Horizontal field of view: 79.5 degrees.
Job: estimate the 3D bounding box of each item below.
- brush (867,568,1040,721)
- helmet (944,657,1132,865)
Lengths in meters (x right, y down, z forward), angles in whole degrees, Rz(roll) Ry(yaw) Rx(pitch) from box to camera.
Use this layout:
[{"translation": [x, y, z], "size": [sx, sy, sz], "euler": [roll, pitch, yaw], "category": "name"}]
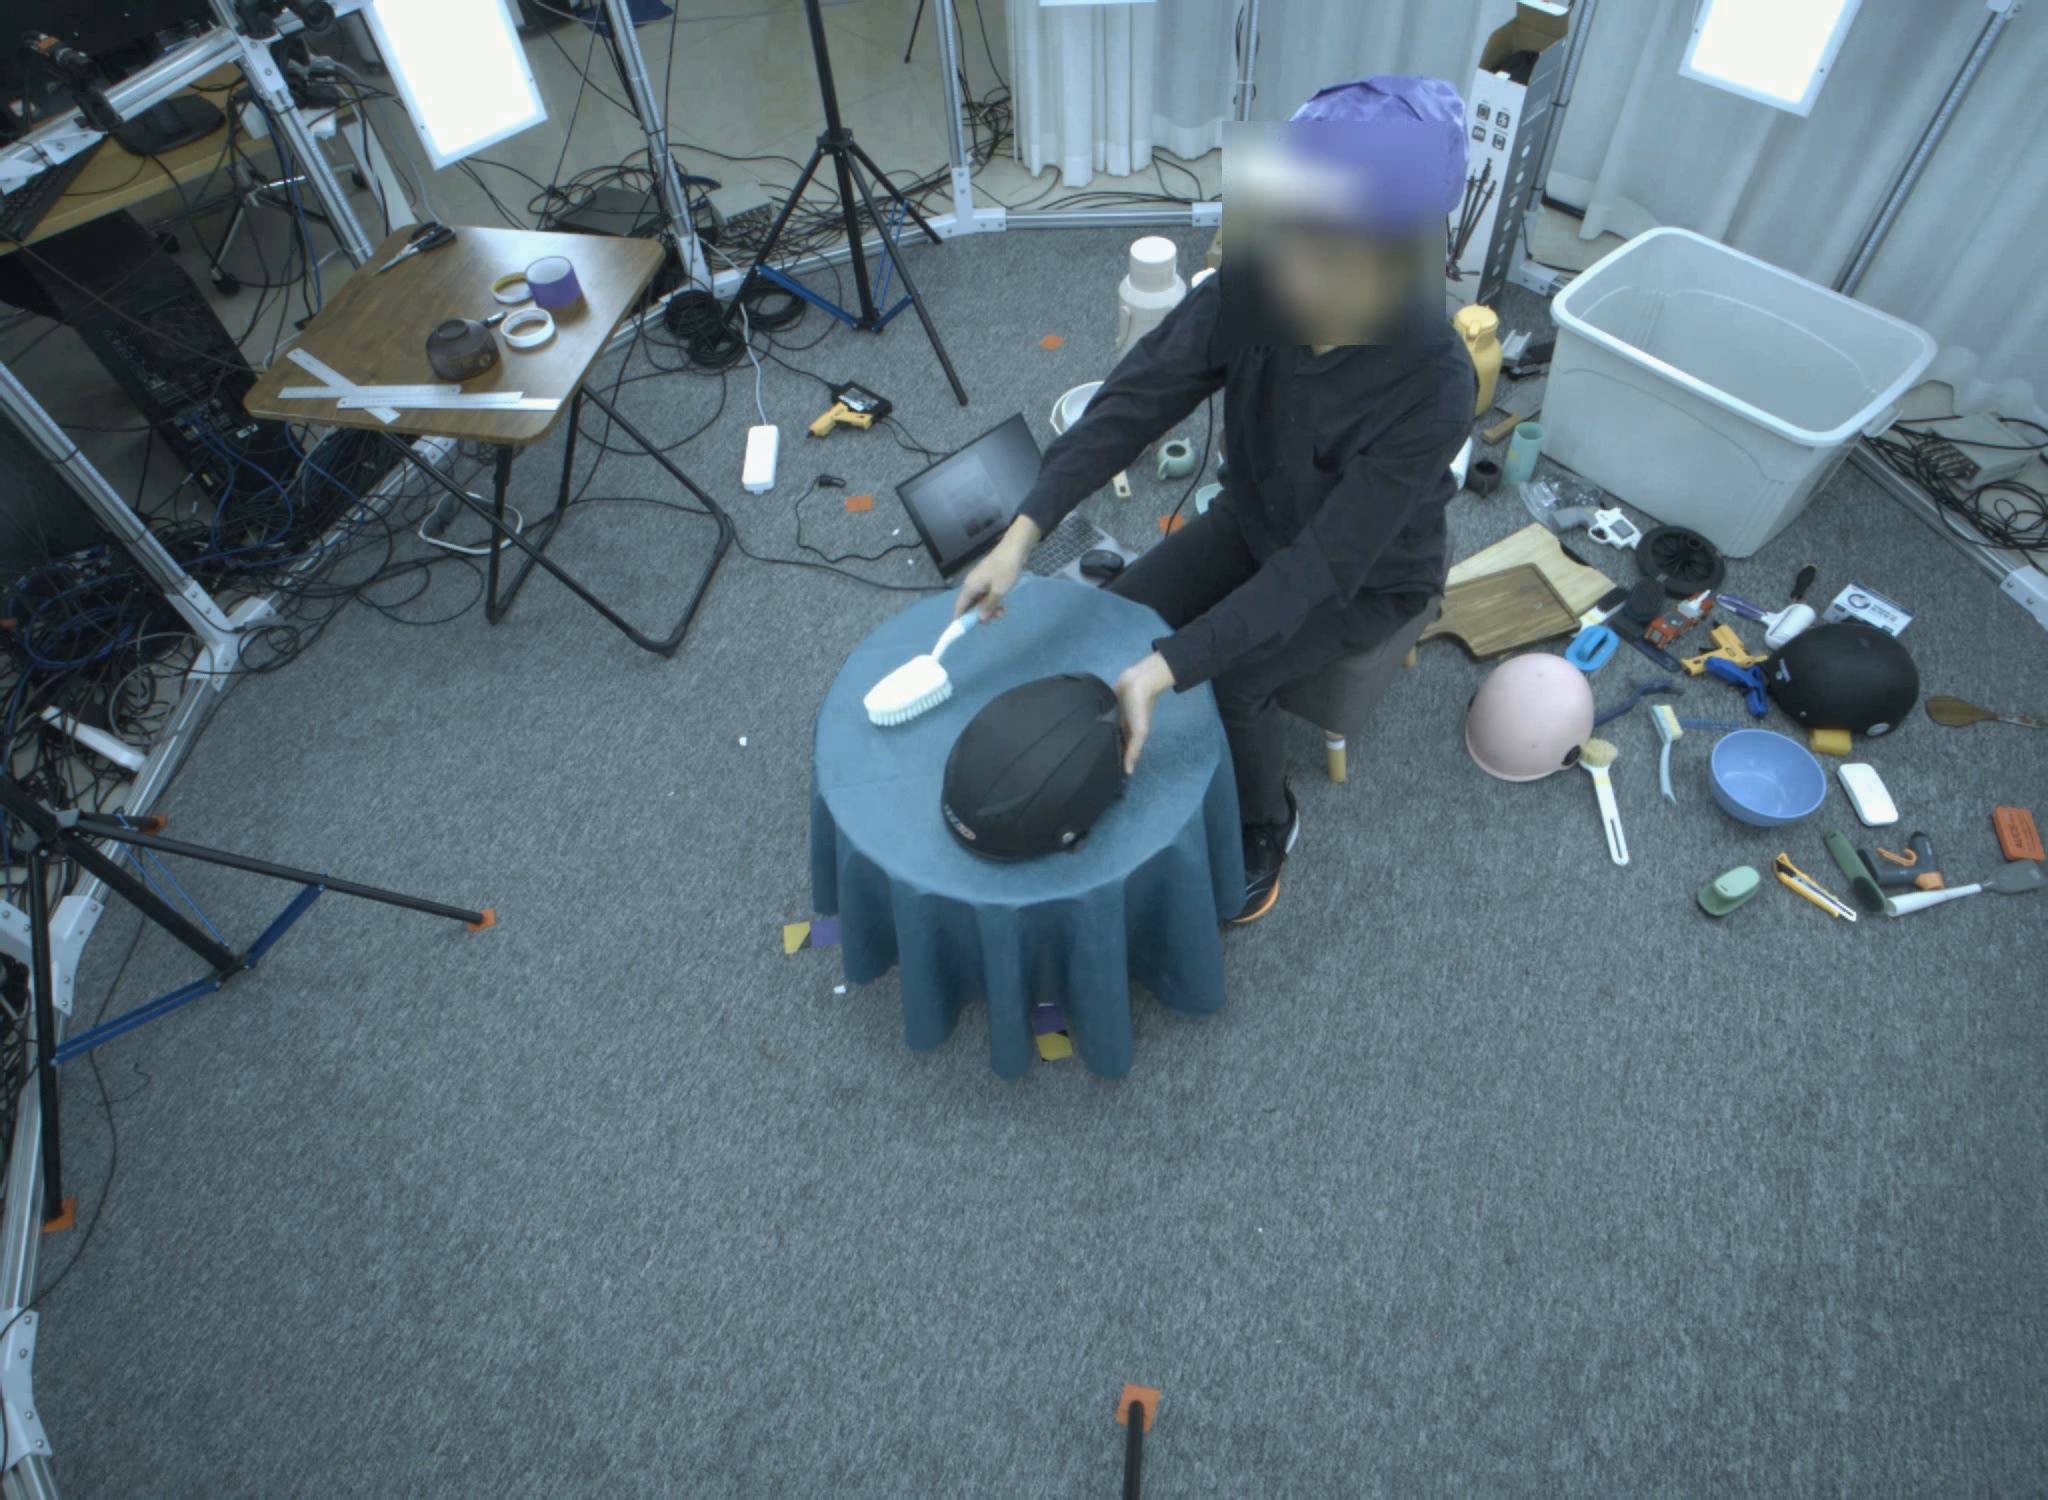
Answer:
[{"translation": [-0.095, -0.148, 1.838], "size": [0.326, 0.084, 0.083], "euler": [-39, 96, -6], "category": "brush"}, {"translation": [0.014, 0.007, 1.676], "size": [0.278, 0.175, 0.242], "euler": [-36, 60, -12], "category": "helmet"}]
